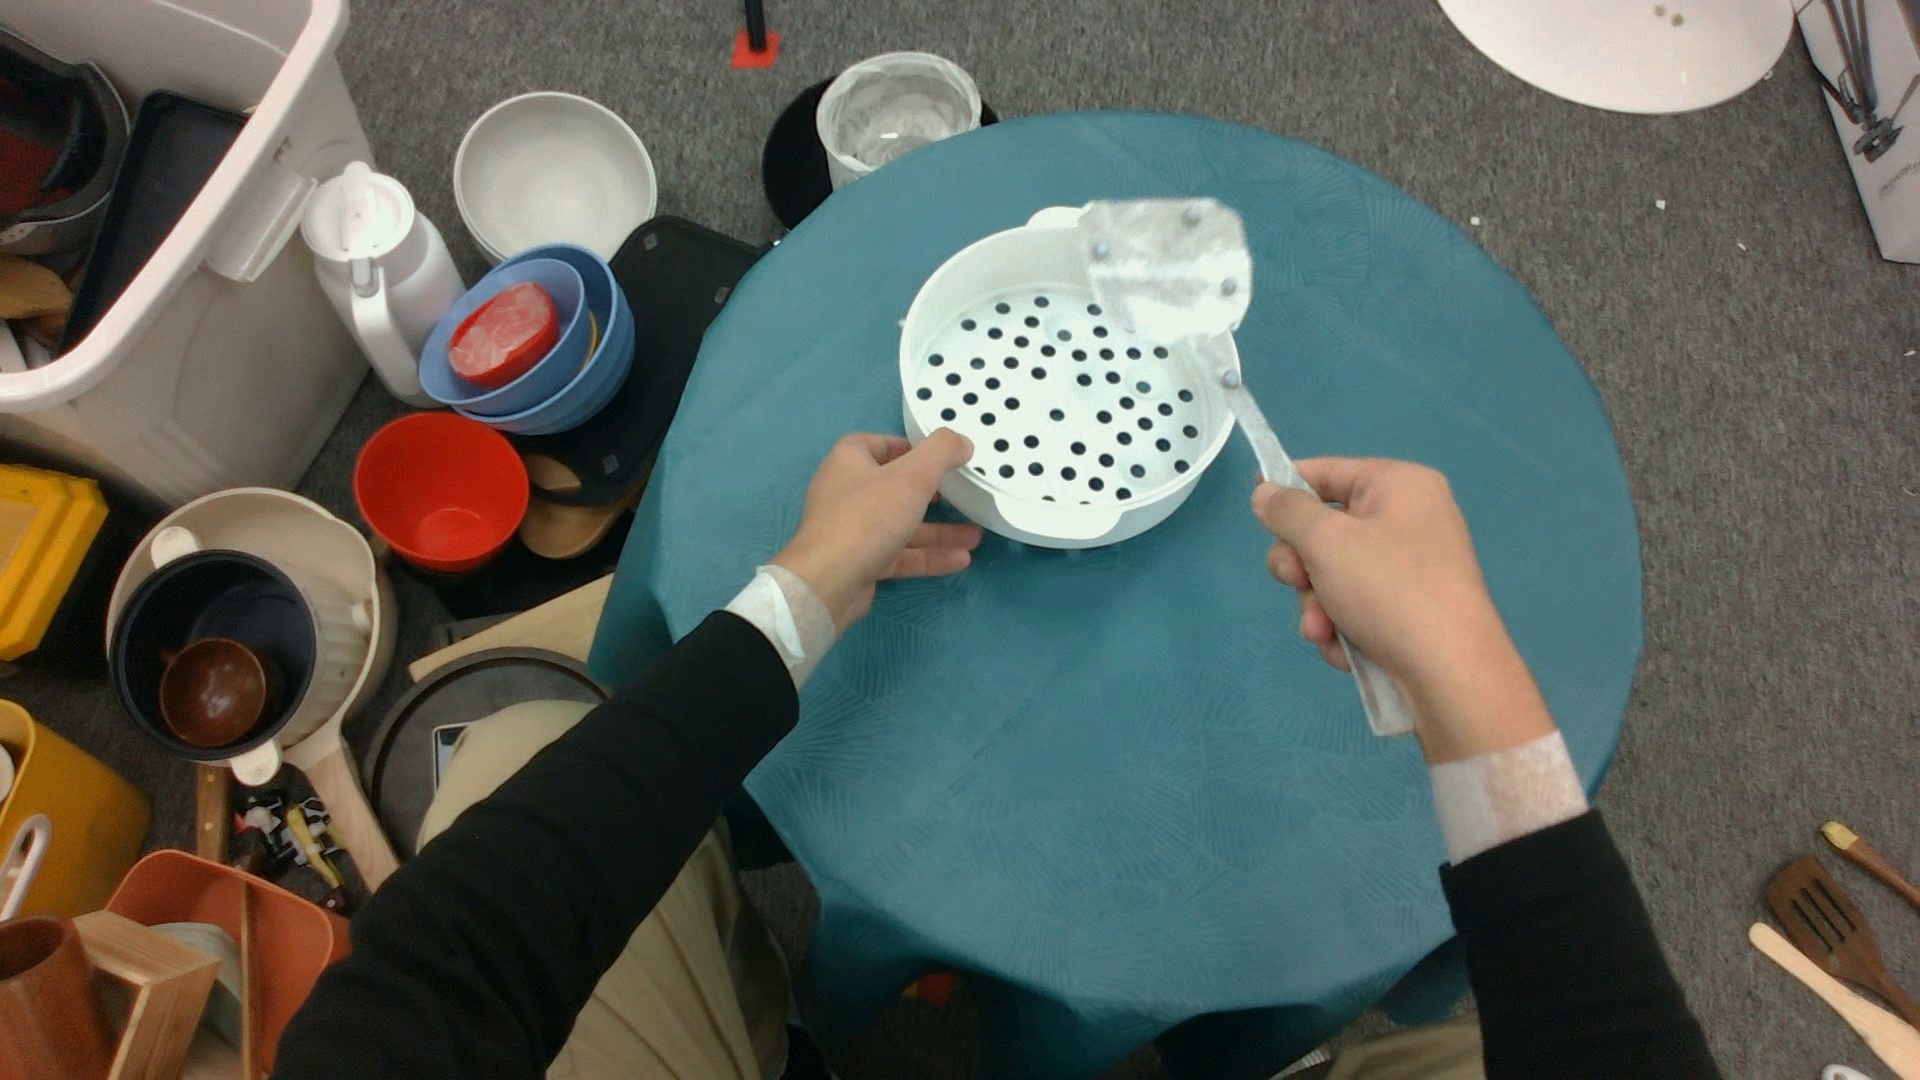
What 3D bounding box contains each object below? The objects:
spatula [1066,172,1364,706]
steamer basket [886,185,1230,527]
[{"bbox_3d":[0.130,-0.072,0.665,0.099,0.044,0.366,-1,42,-12],"label":"spatula"},{"bbox_3d":[0.056,-0.104,0.828,0.202,0.069,0.231,8,64,-1],"label":"steamer basket"}]
